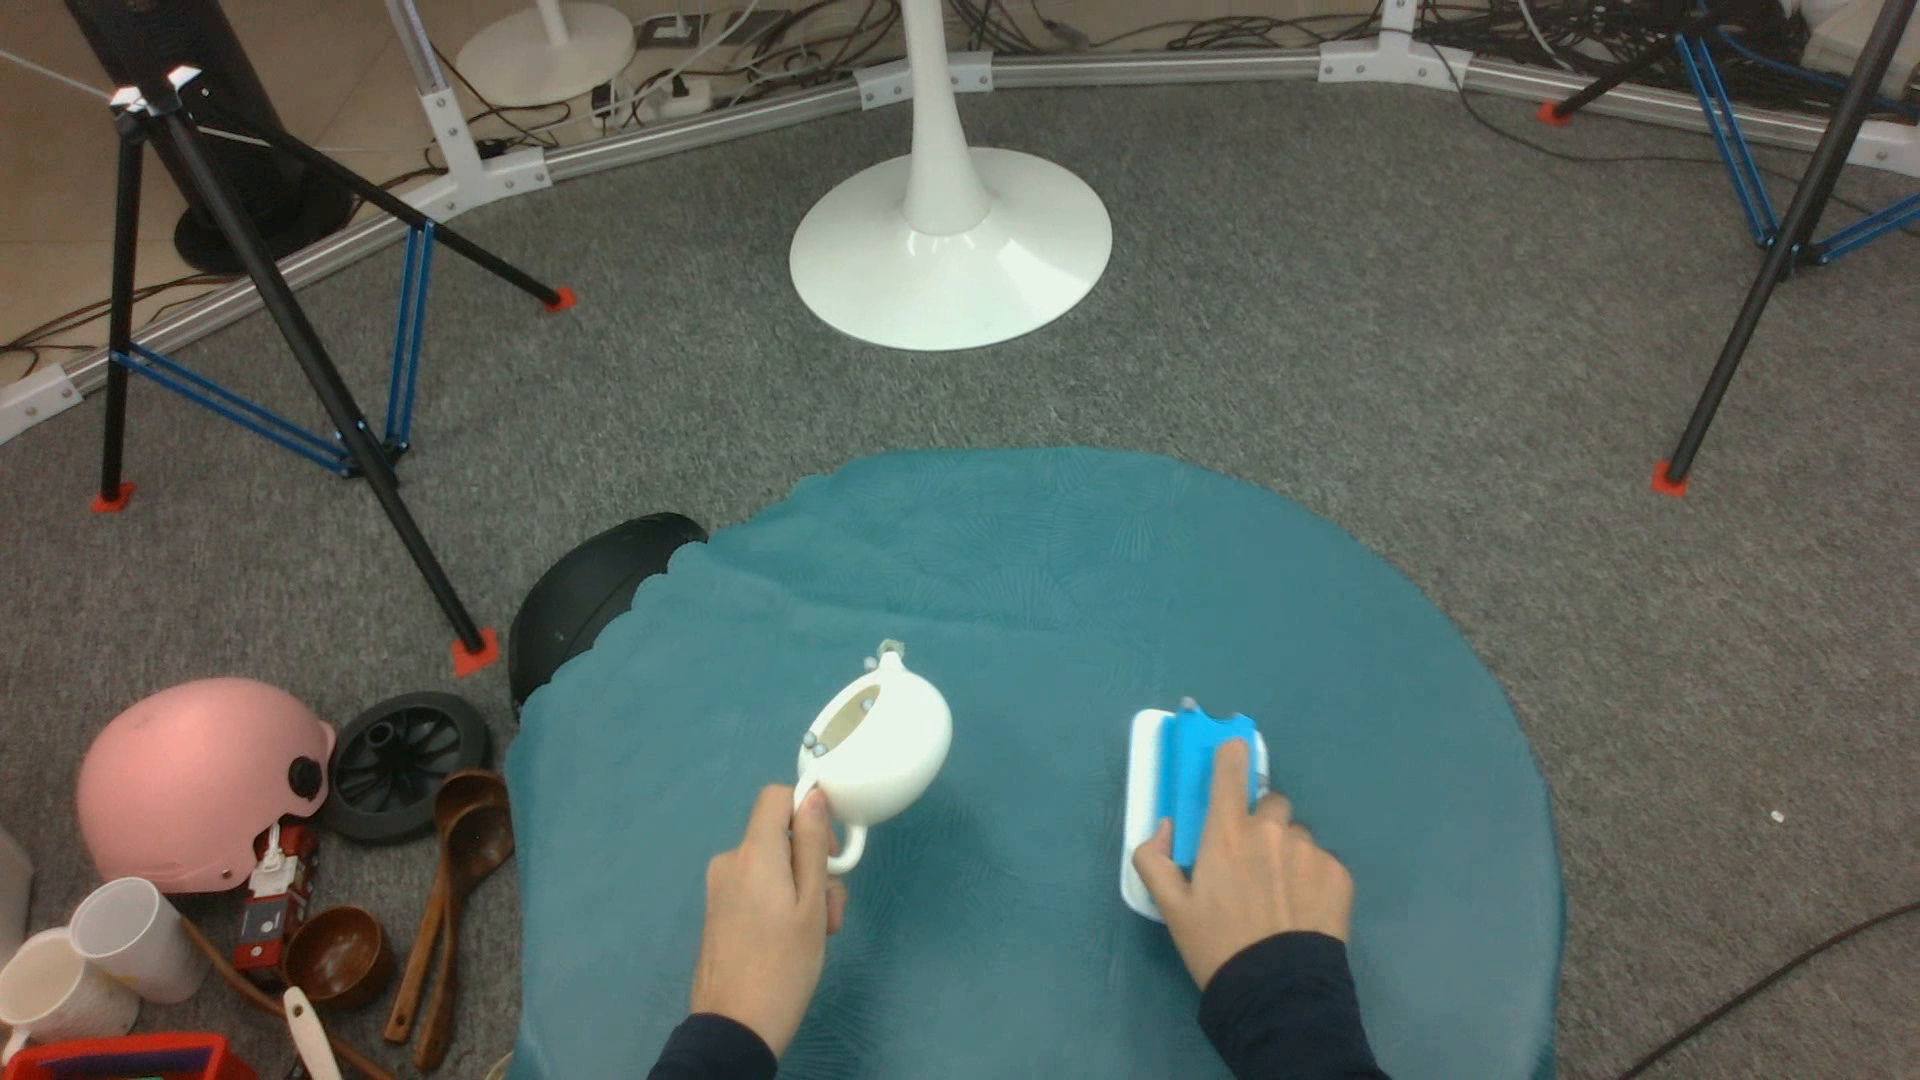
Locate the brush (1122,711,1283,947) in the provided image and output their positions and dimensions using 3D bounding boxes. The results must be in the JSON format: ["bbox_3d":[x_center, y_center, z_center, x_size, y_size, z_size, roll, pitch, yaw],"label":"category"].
[{"bbox_3d":[0.140,0.152,0.766,0.084,0.055,0.145,12,42,6],"label":"brush"}]

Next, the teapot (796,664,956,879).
[{"bbox_3d":[-0.050,0.129,0.765,0.093,0.056,0.128,-22,27,42],"label":"teapot"}]
